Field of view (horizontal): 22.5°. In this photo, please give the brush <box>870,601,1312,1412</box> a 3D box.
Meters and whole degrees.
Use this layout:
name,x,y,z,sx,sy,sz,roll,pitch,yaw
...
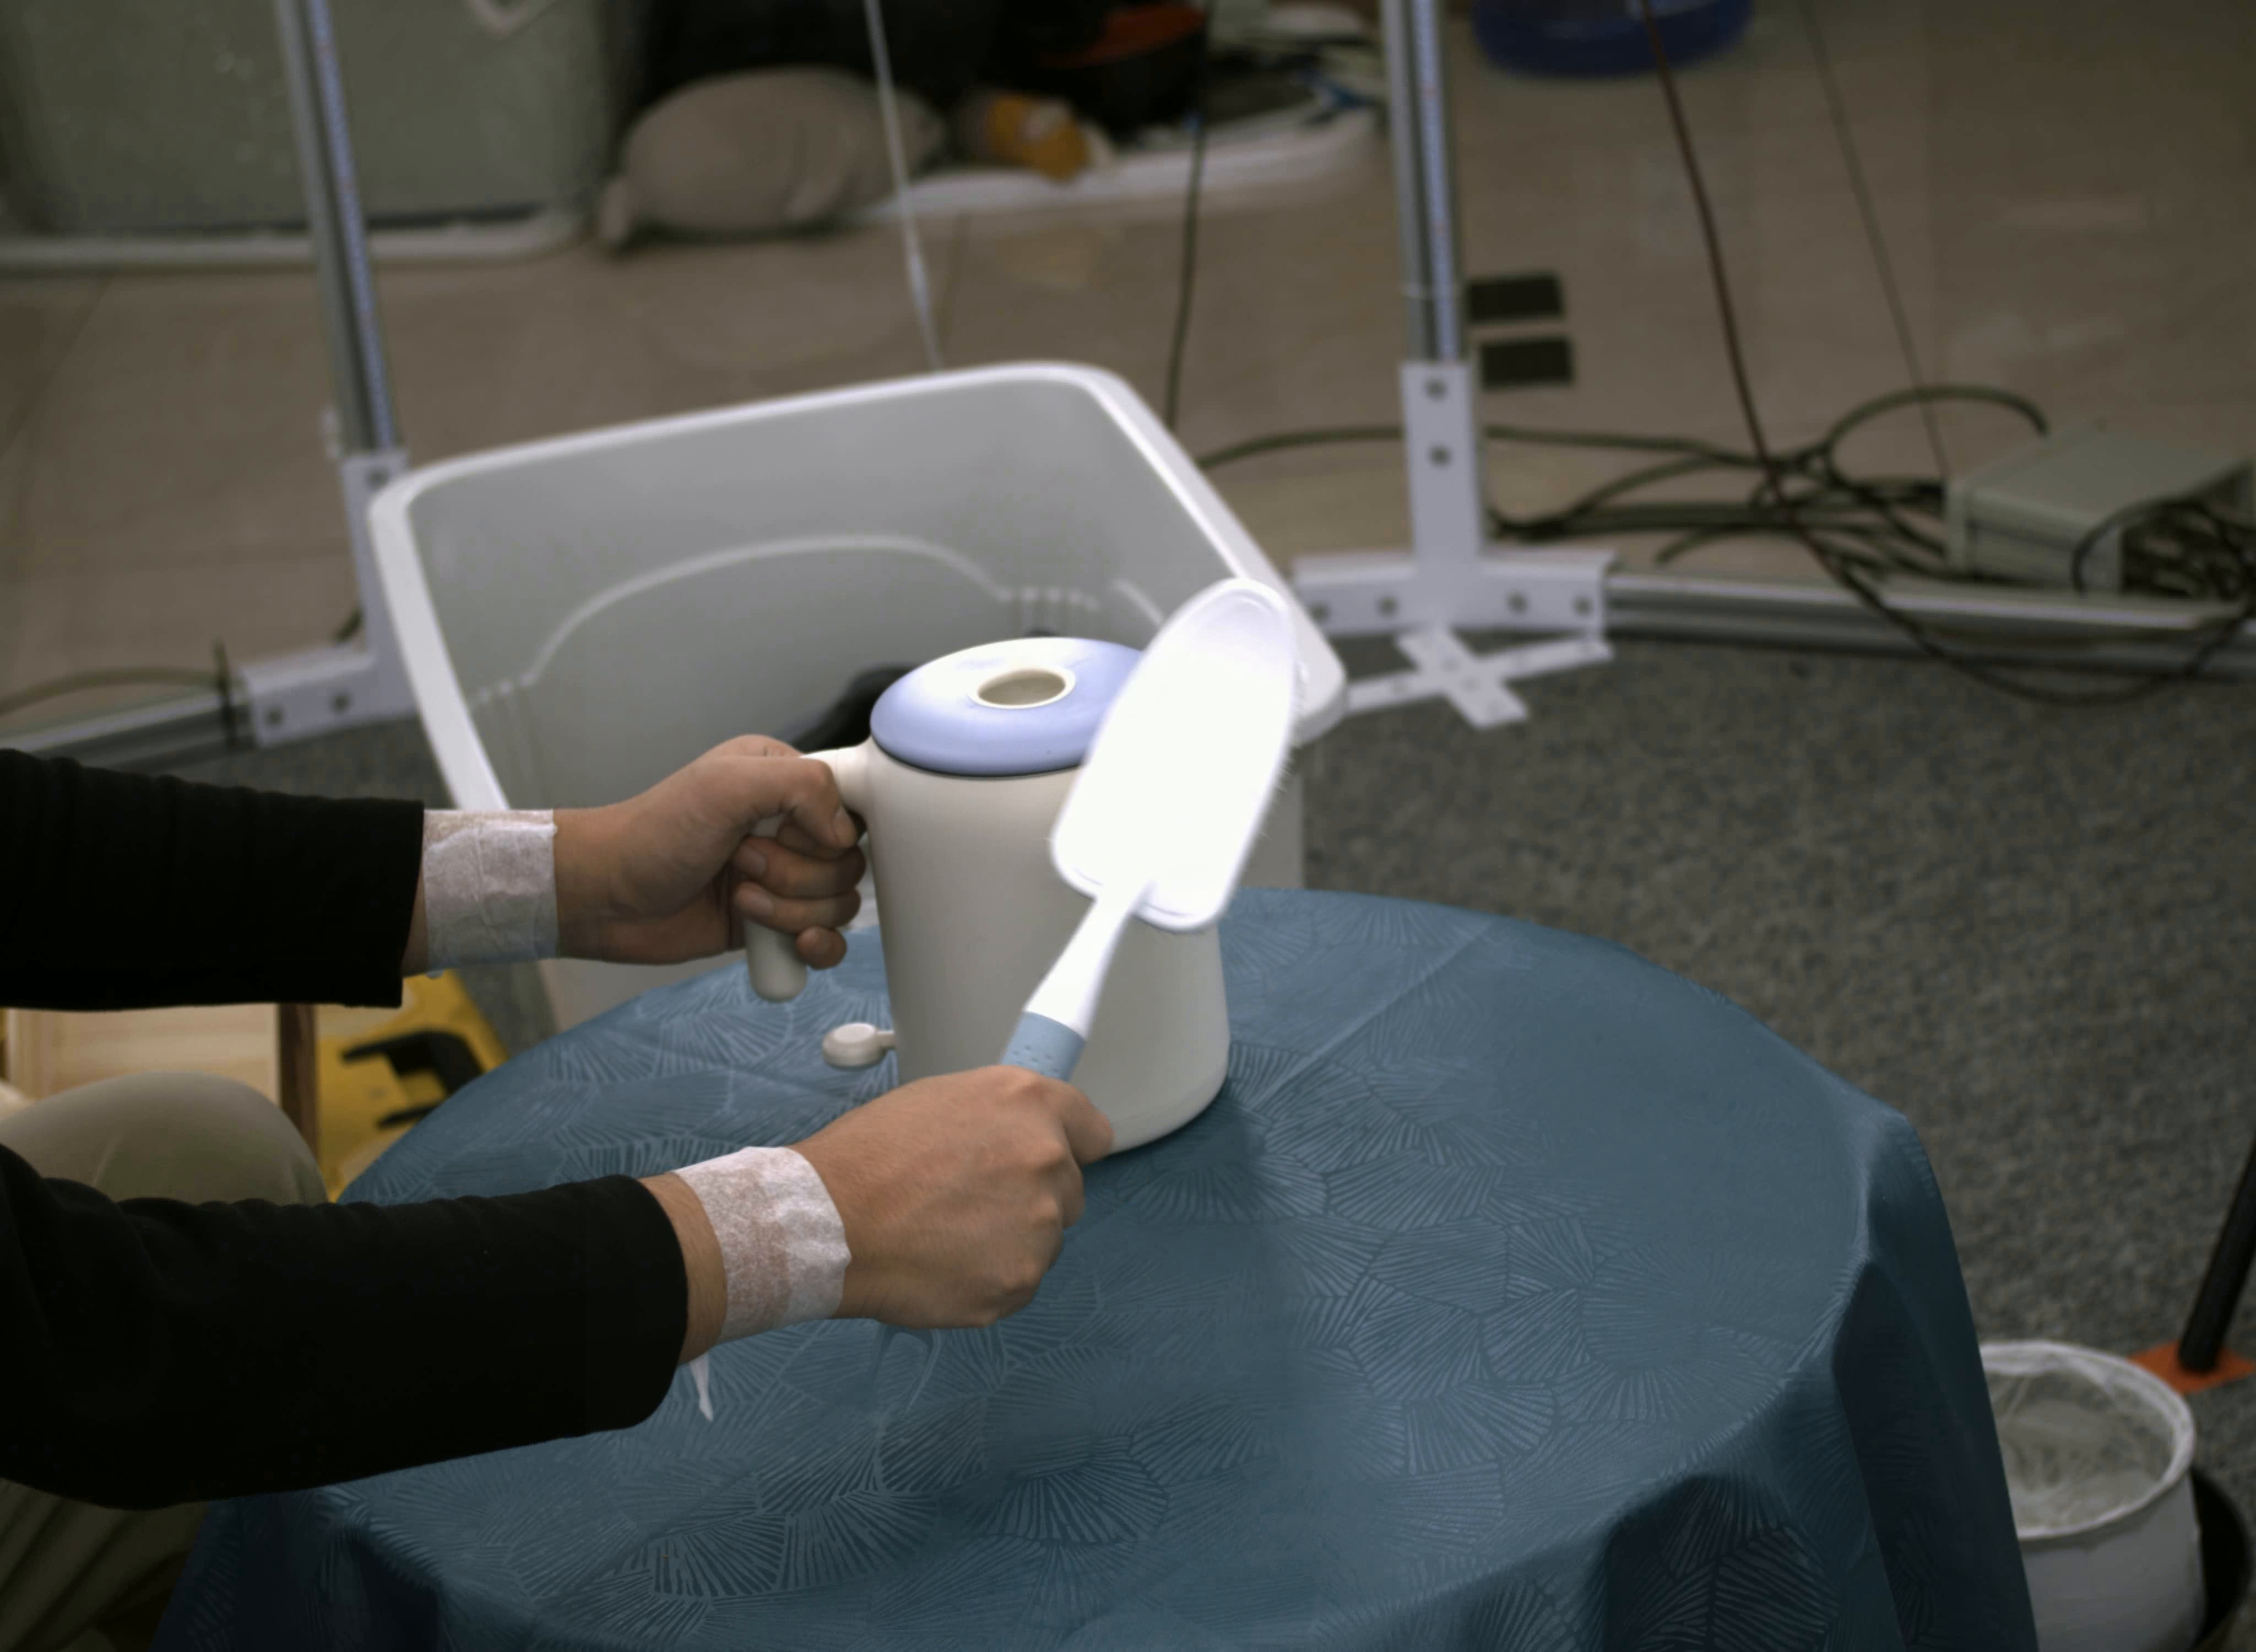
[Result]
name,x,y,z,sx,sy,sz,roll,pitch,yaw
brush,-0.018,0.065,2.023,0.082,0.085,0.323,12,71,43

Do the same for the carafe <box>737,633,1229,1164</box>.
name,x,y,z,sx,sy,sz,roll,pitch,yaw
carafe,-0.056,0.030,2.190,0.191,0.185,0.130,-6,25,4
